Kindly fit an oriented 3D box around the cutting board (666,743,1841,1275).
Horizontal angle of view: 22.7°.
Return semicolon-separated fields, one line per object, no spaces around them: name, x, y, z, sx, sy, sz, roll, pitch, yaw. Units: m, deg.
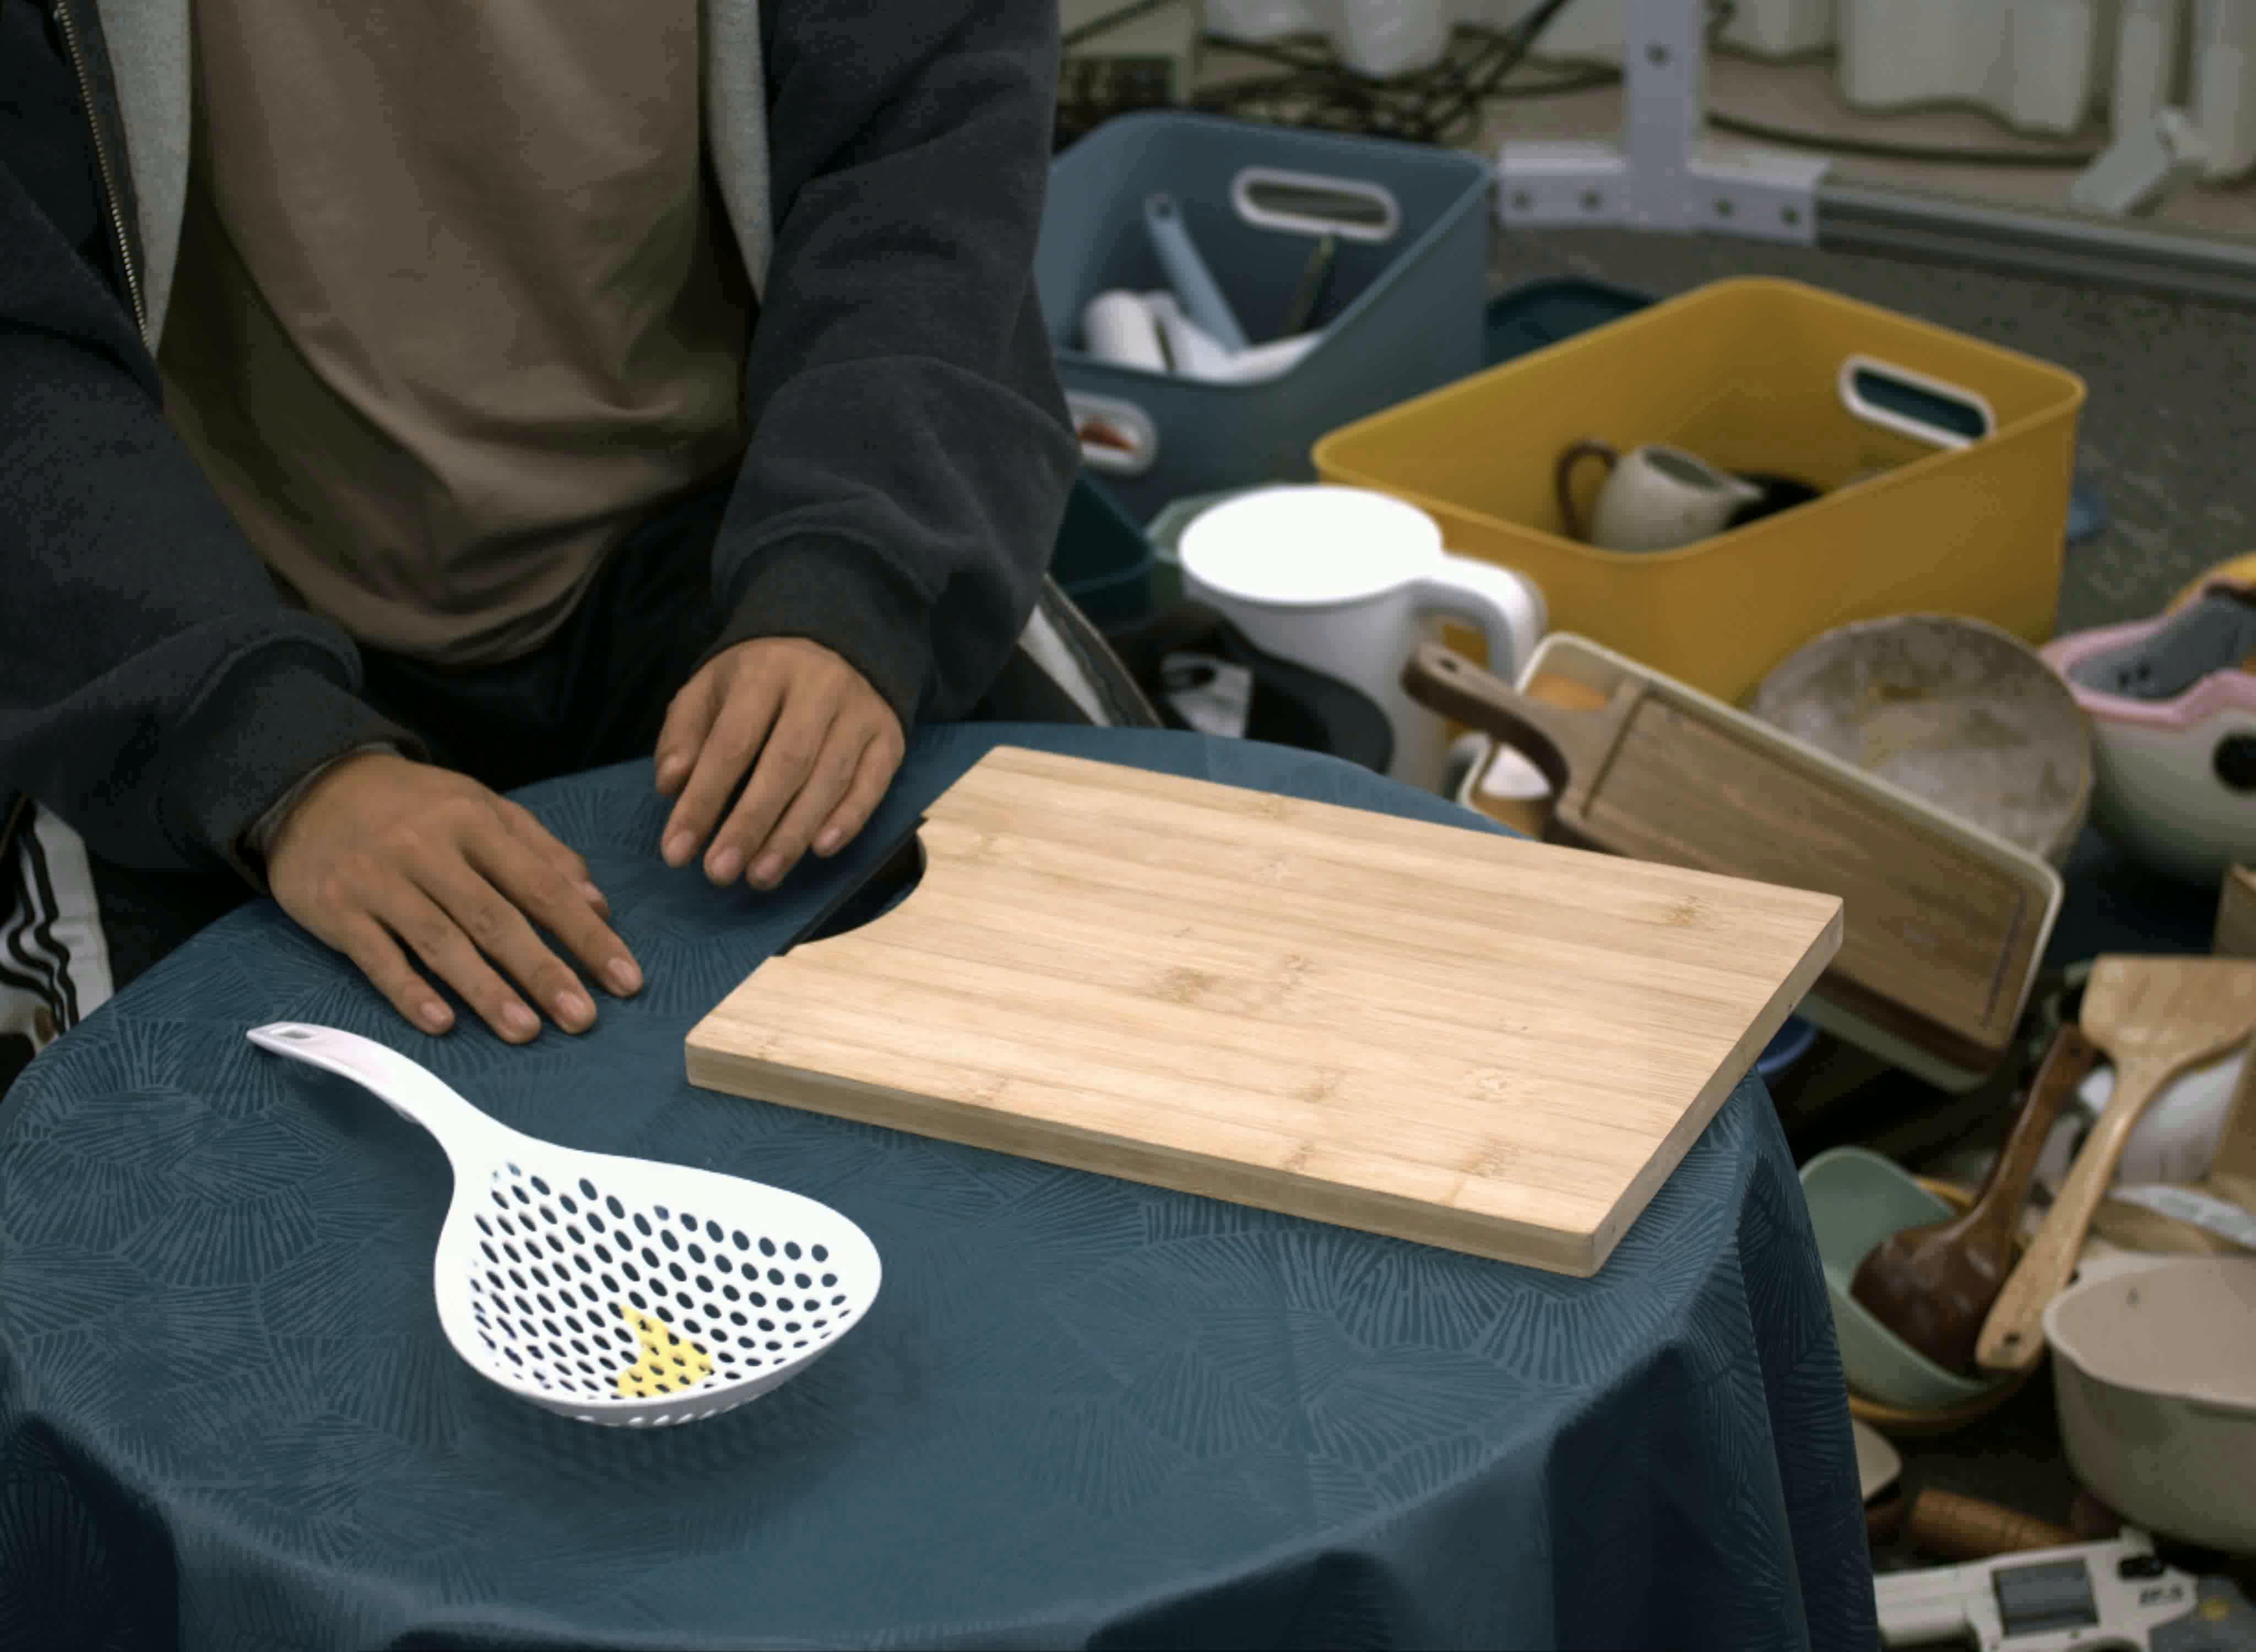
cutting board;0.046;0.058;1.964;0.346;0.023;0.255;10;30;23

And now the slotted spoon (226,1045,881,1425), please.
slotted spoon;-0.208;0.120;1.842;0.138;0.050;0.348;-22;33;-29
